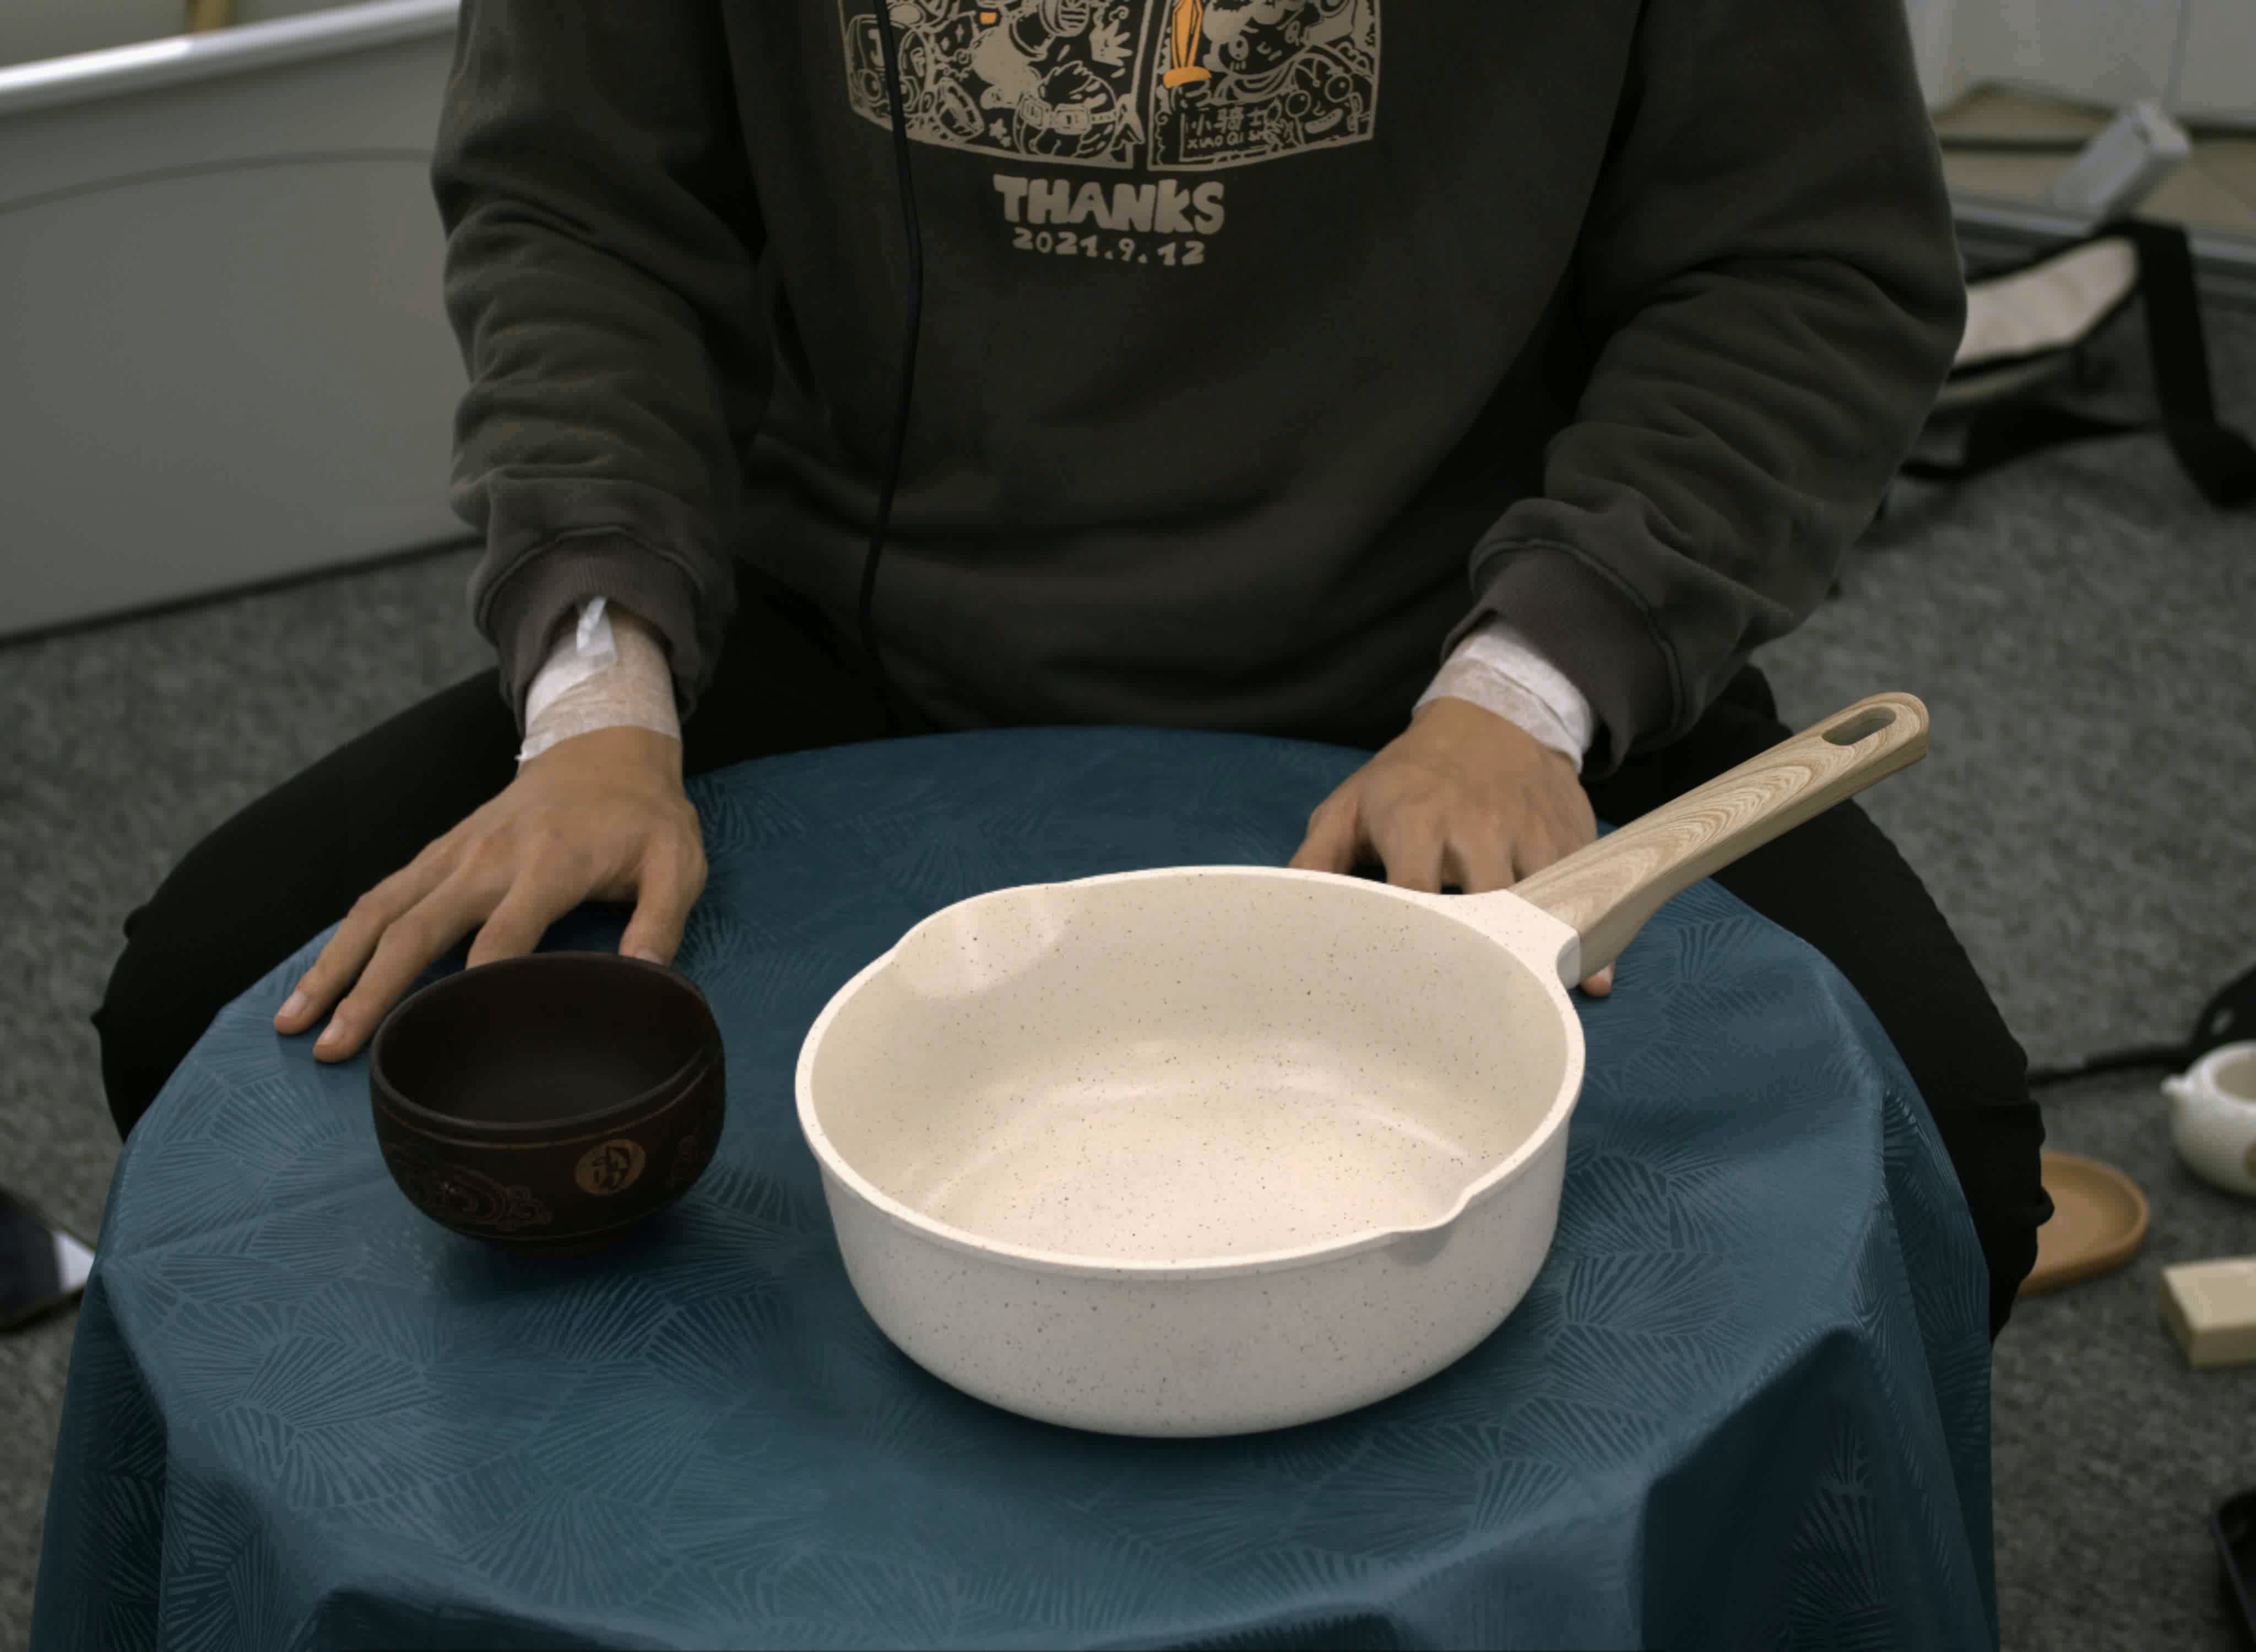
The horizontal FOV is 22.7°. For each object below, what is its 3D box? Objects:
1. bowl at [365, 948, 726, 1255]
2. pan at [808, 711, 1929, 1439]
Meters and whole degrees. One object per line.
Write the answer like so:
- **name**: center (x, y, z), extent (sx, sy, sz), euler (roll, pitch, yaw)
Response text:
- **bowl**: center (-0.190, 0.098, 1.848), extent (0.117, 0.069, 0.120), euler (-3, 26, 2)
- **pan**: center (0.099, 0.074, 1.837), extent (0.438, 0.101, 0.263), euler (-21, 30, -31)
